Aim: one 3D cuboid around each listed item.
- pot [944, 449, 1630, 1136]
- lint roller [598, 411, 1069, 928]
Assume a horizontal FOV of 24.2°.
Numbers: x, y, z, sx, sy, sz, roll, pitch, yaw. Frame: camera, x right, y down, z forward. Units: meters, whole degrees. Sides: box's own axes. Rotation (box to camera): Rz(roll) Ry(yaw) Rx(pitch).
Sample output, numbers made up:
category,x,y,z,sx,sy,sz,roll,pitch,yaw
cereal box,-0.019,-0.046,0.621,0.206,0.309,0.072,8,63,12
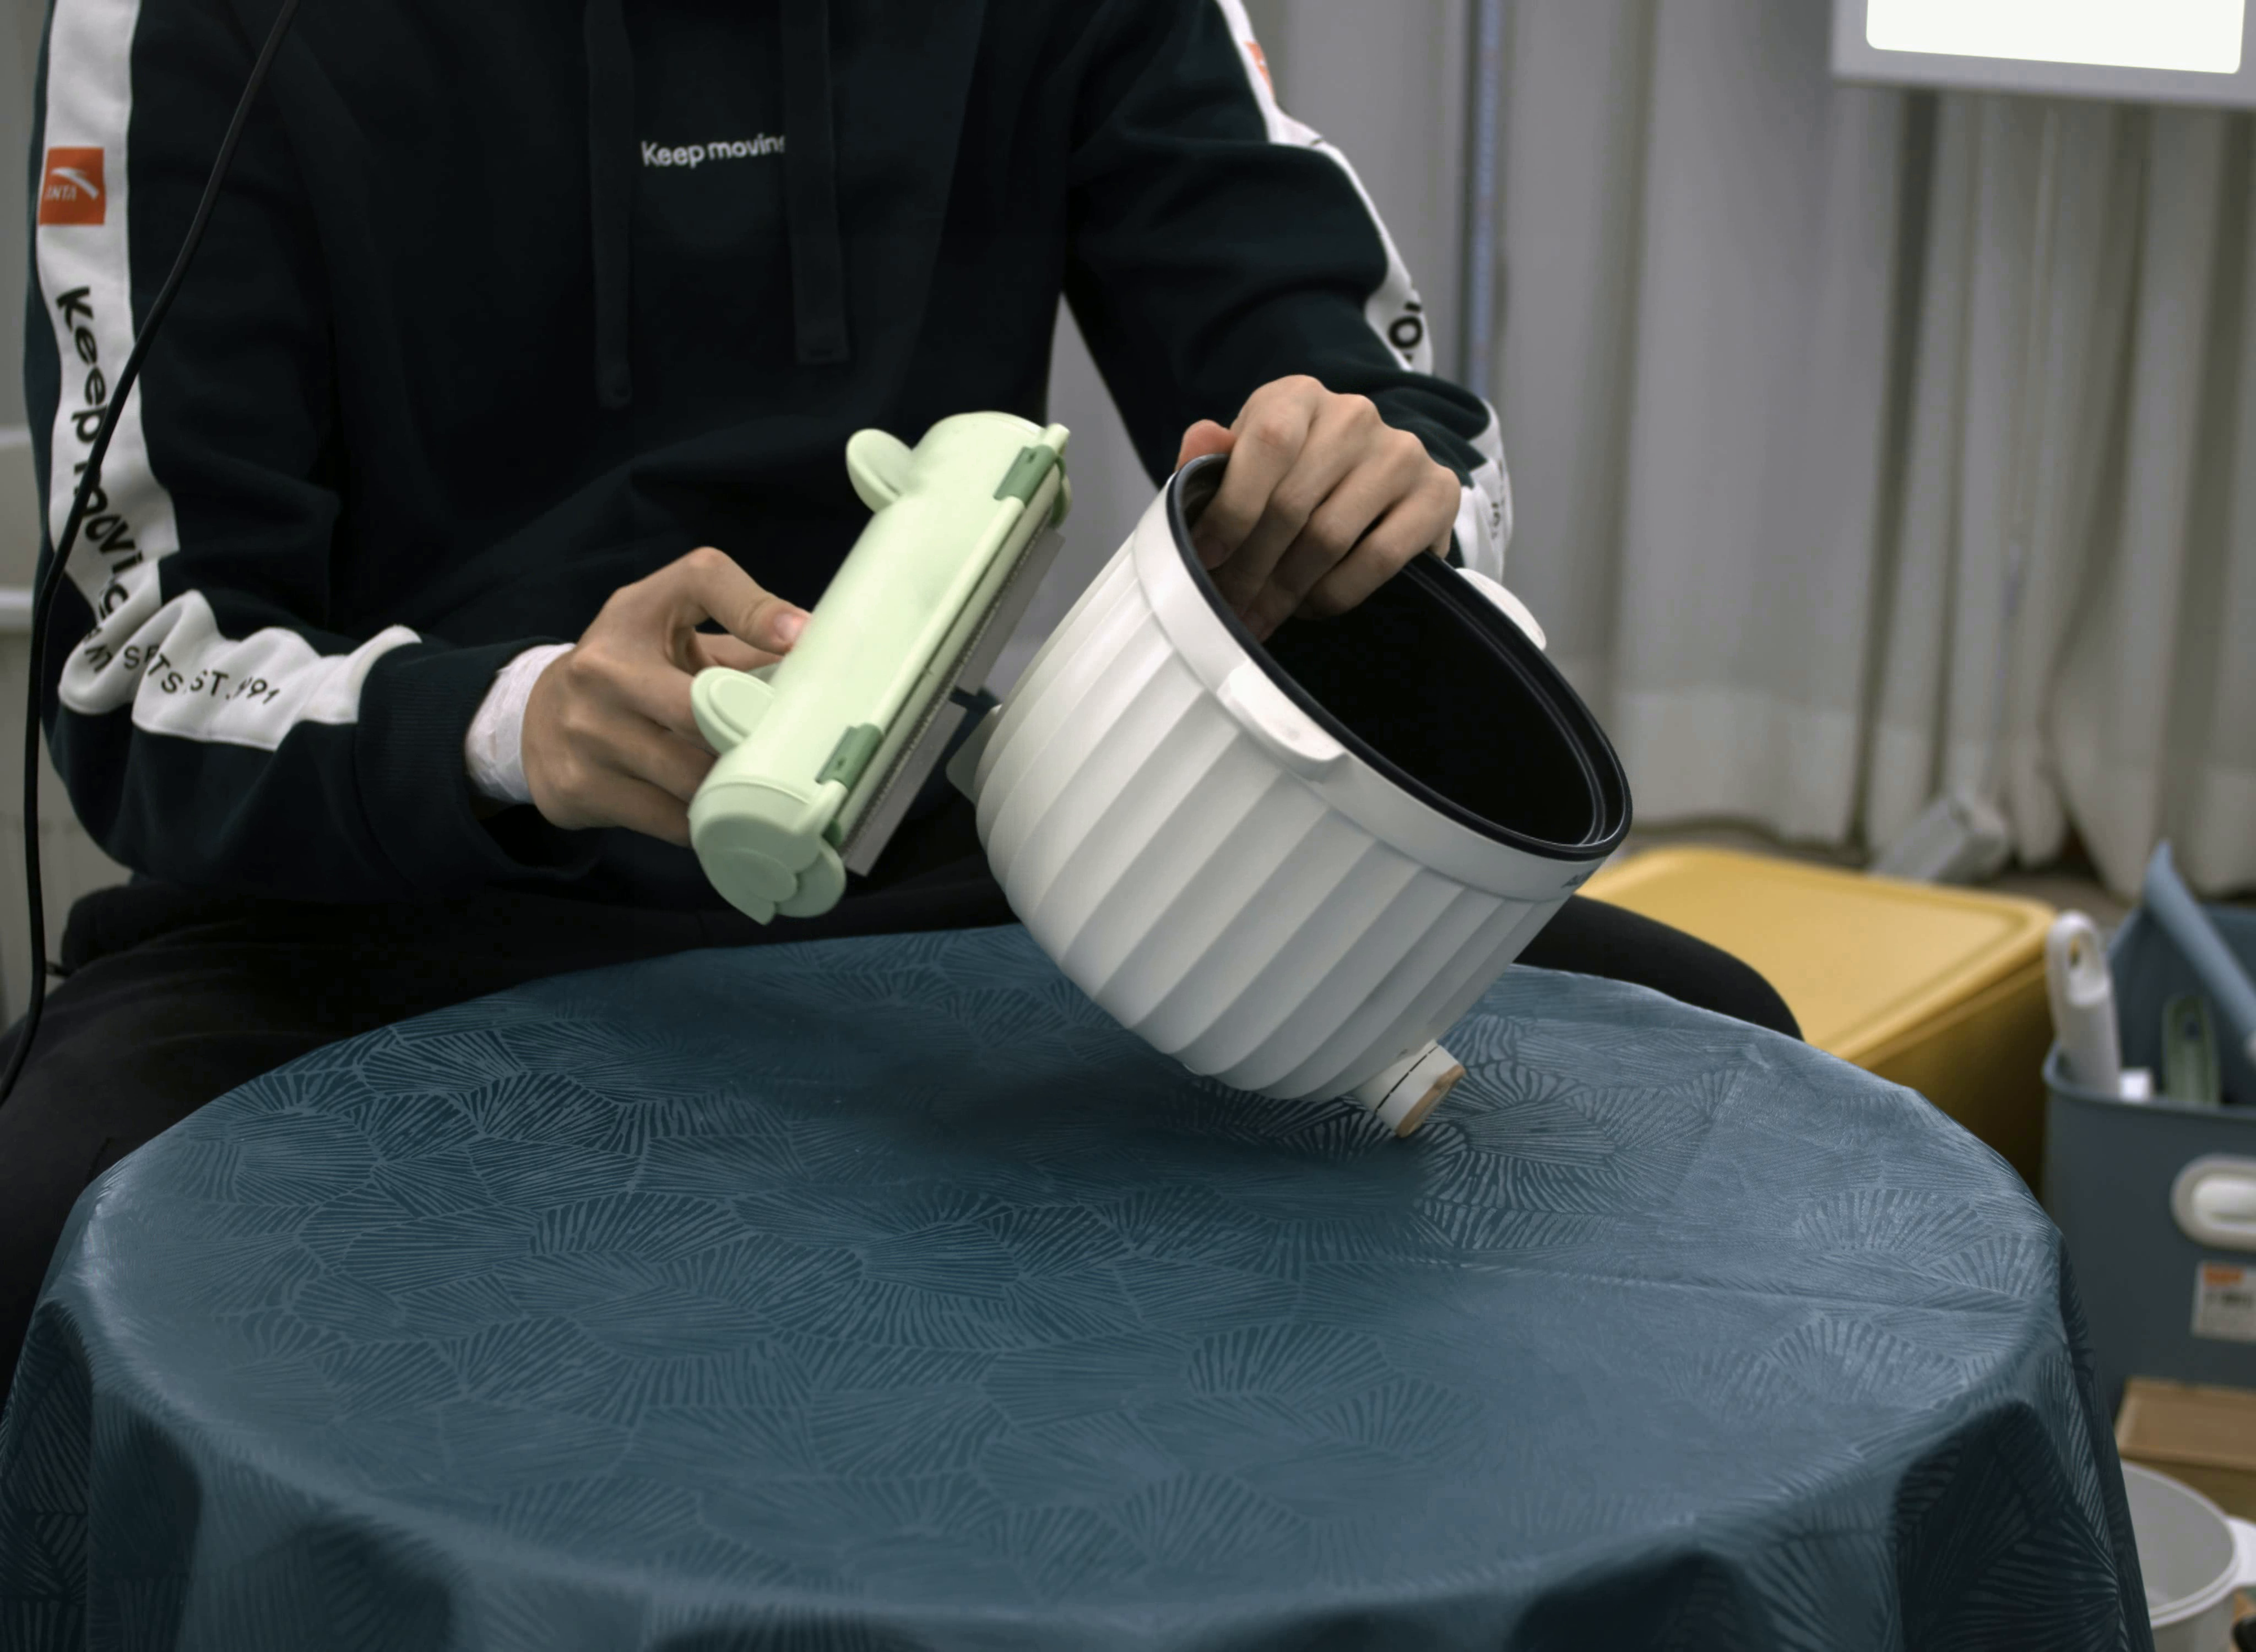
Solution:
category,x,y,z,sx,sy,sz,roll,pitch,yaw
pot,0.051,-0.005,1.665,0.189,0.143,0.241,41,23,9
lint roller,-0.121,-0.049,1.696,0.181,0.083,0.198,-11,37,39
